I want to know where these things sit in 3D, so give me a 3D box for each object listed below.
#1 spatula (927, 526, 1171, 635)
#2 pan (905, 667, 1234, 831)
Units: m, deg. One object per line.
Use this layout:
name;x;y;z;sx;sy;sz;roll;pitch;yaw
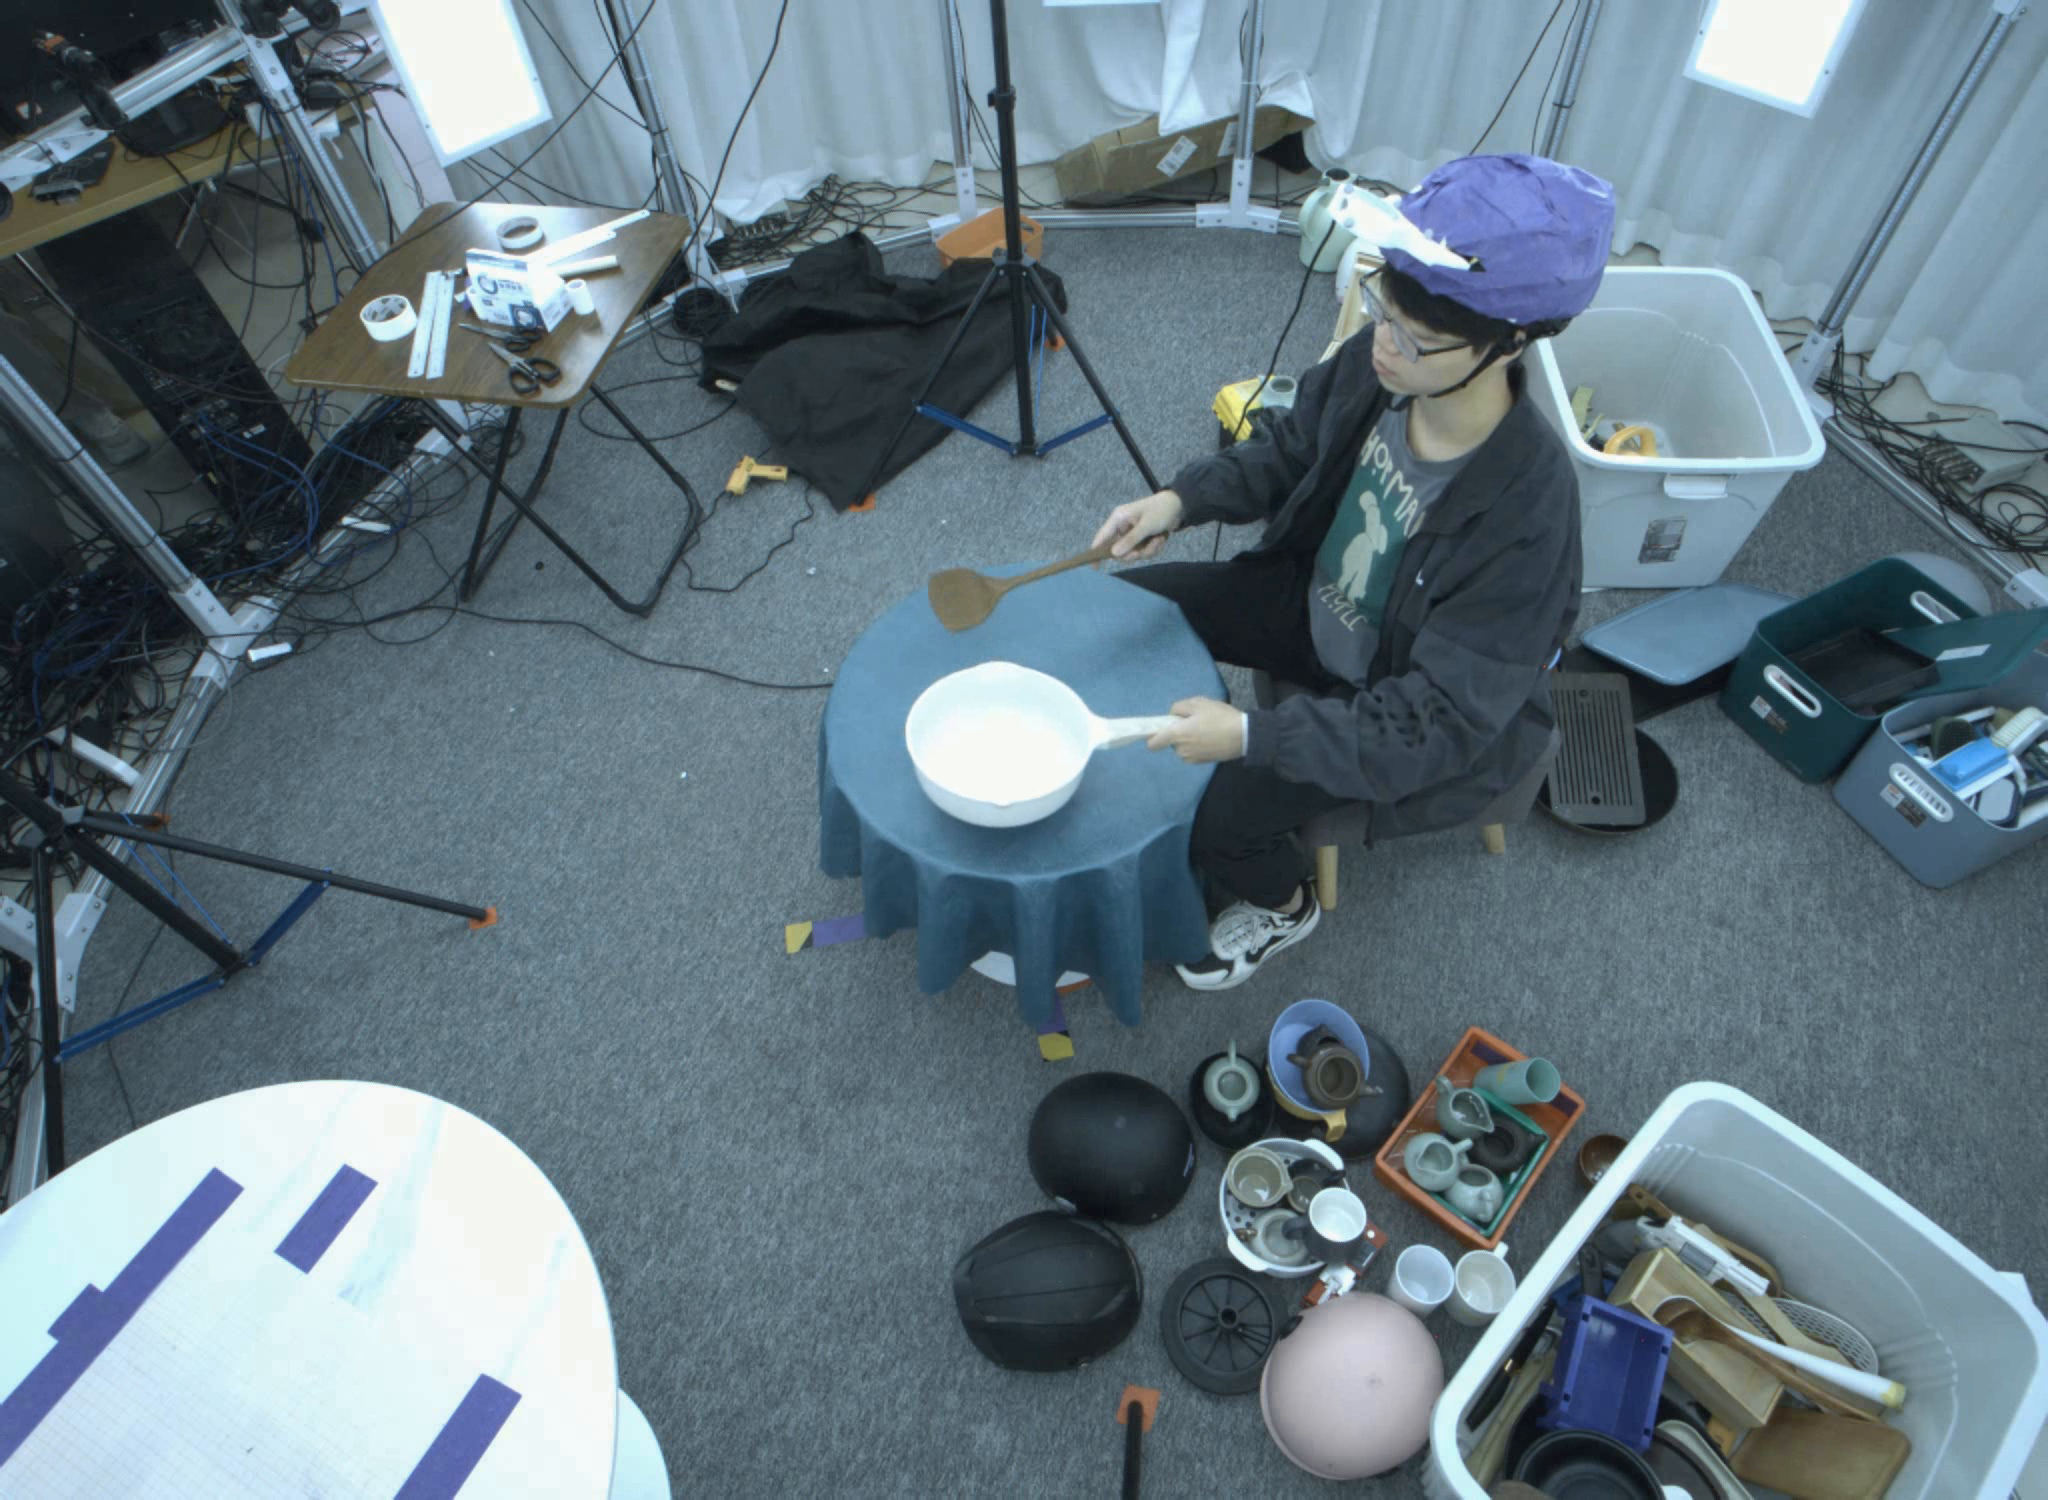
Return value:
spatula;0.044;-0.262;1.785;0.389;0.016;0.095;-21;80;-15
pan;0.061;-0.002;1.653;0.436;0.103;0.260;-1;47;-4
